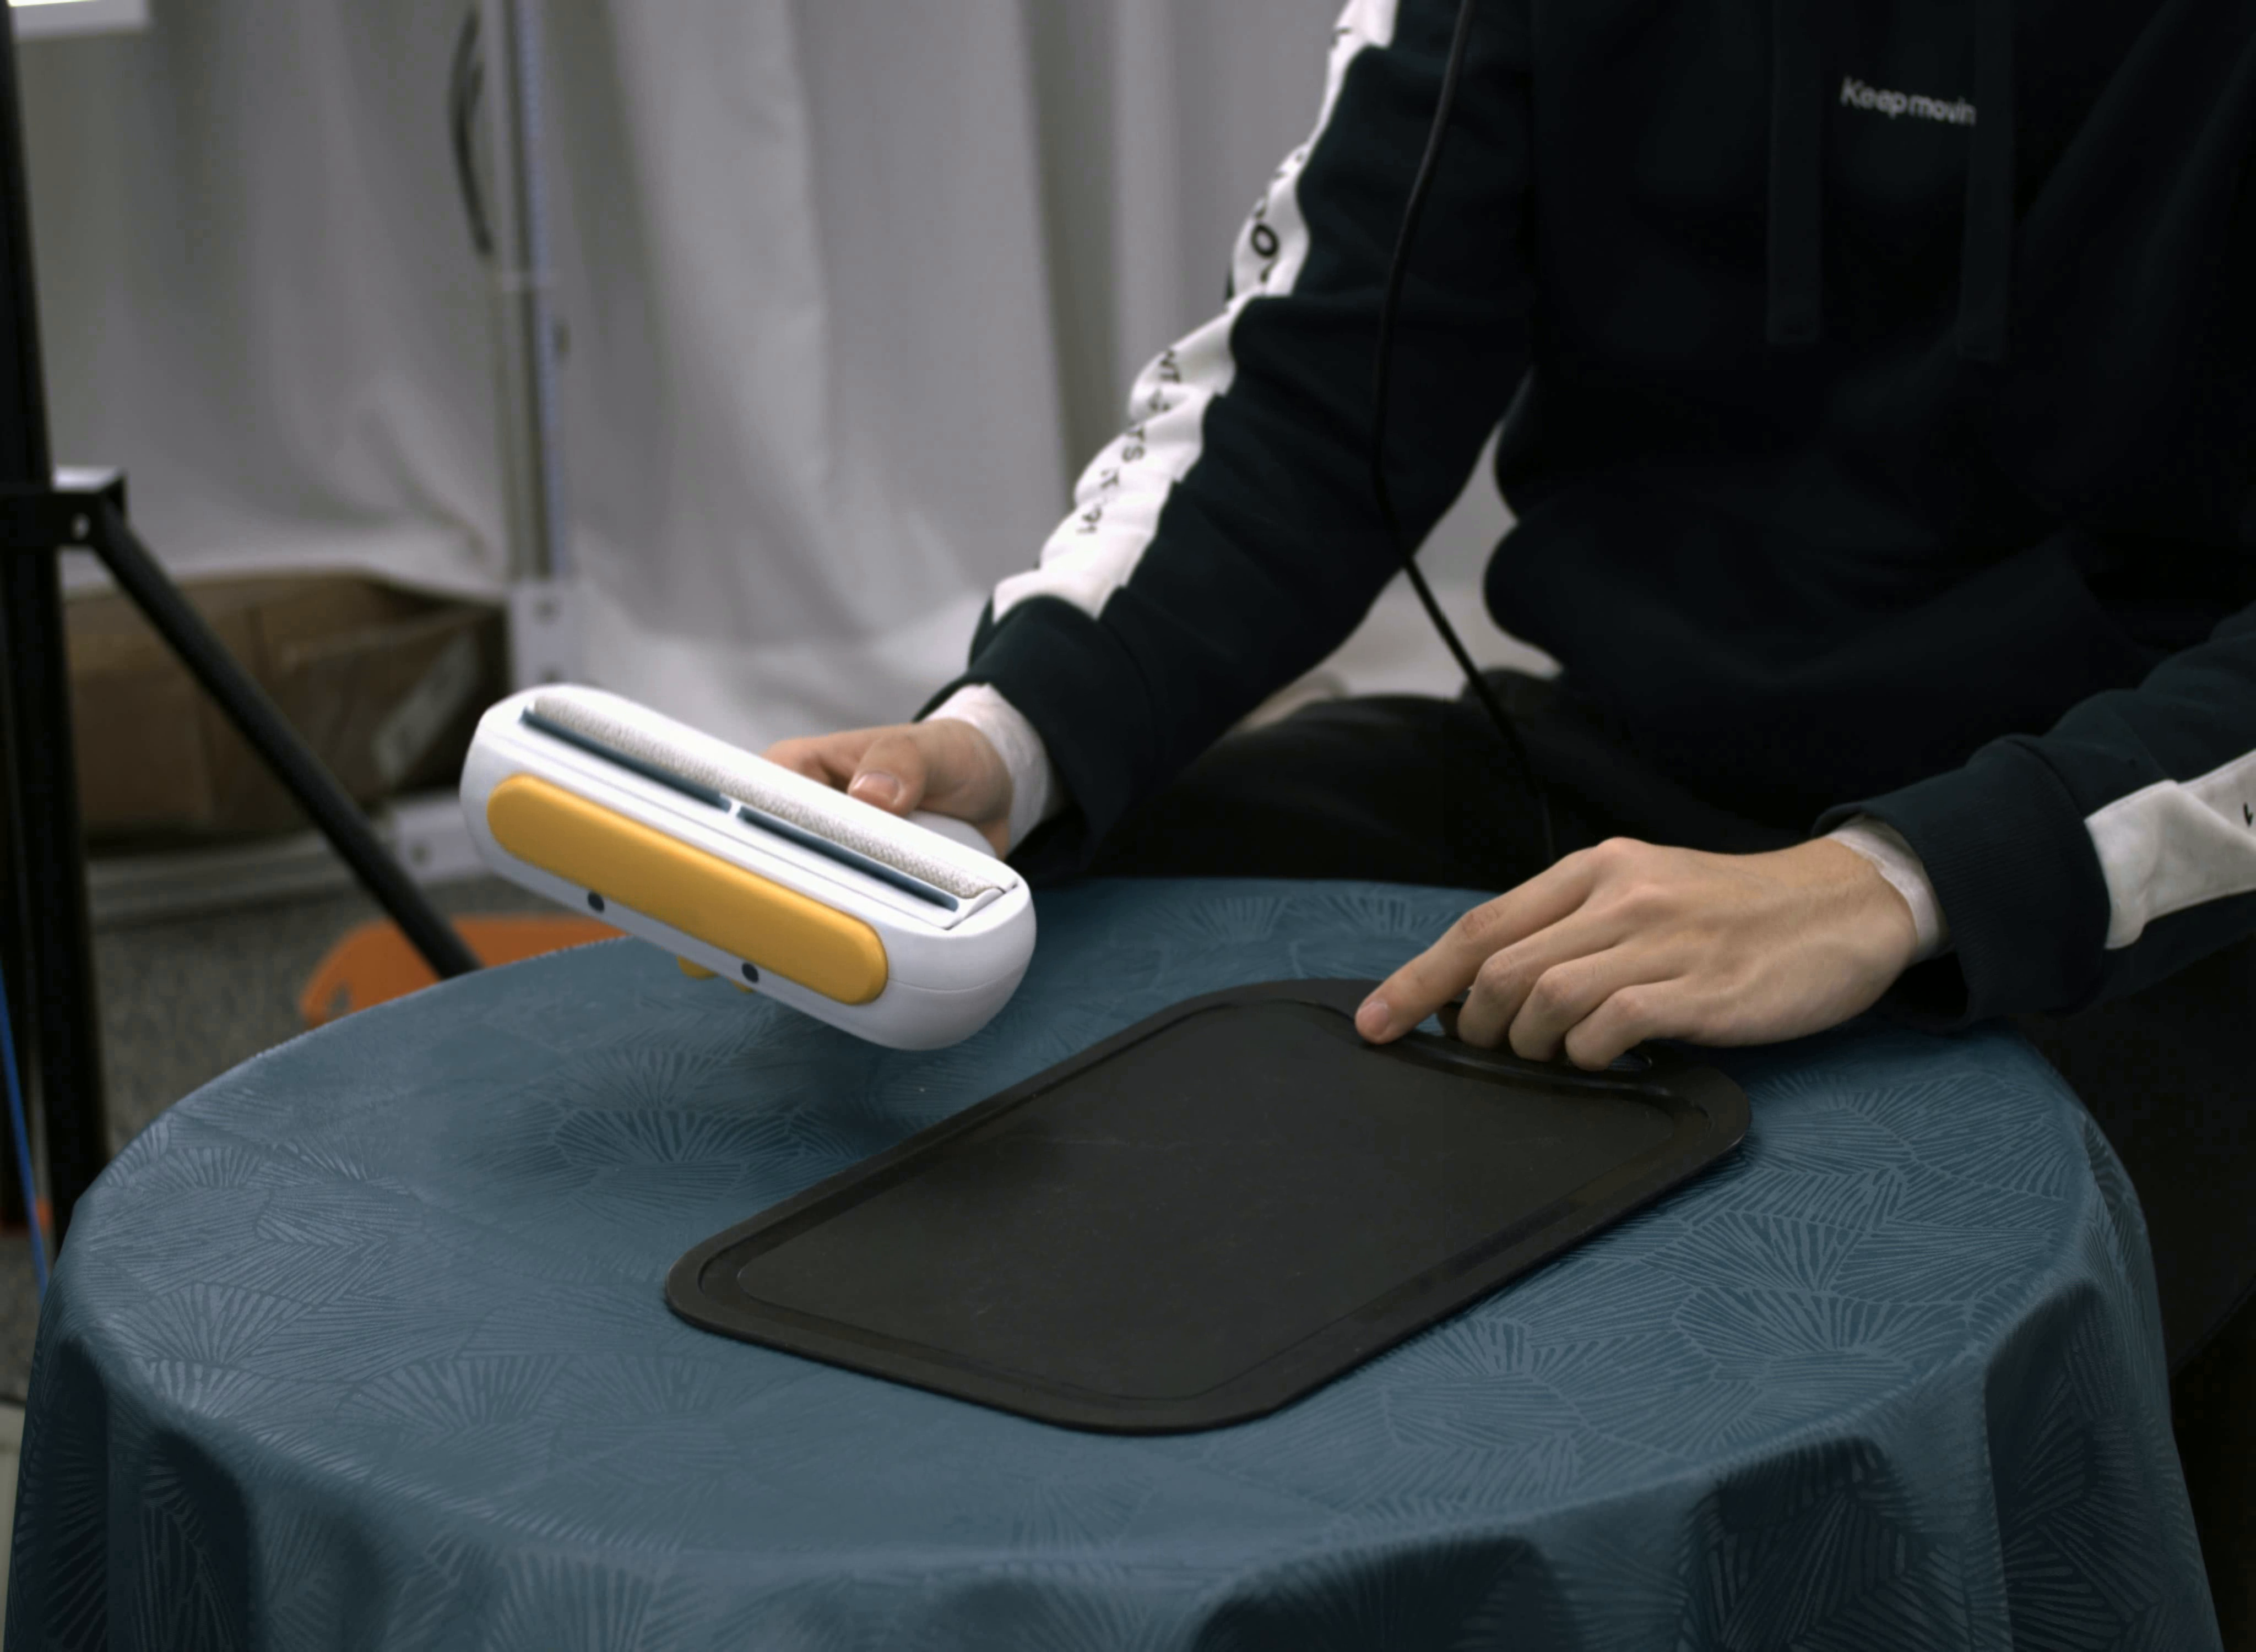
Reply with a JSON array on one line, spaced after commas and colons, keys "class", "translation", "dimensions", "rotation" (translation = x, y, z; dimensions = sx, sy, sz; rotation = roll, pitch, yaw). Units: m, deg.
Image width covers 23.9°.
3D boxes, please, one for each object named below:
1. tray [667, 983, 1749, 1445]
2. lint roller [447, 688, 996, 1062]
[{"class": "tray", "translation": [0.032, 0.102, 1.540], "dimensions": [0.216, 0.010, 0.319], "rotation": [12, 24, 38]}, {"class": "lint roller", "translation": [-0.100, 0.023, 1.685], "dimensions": [0.196, 0.074, 0.188], "rotation": [23, 8, 30]}]
